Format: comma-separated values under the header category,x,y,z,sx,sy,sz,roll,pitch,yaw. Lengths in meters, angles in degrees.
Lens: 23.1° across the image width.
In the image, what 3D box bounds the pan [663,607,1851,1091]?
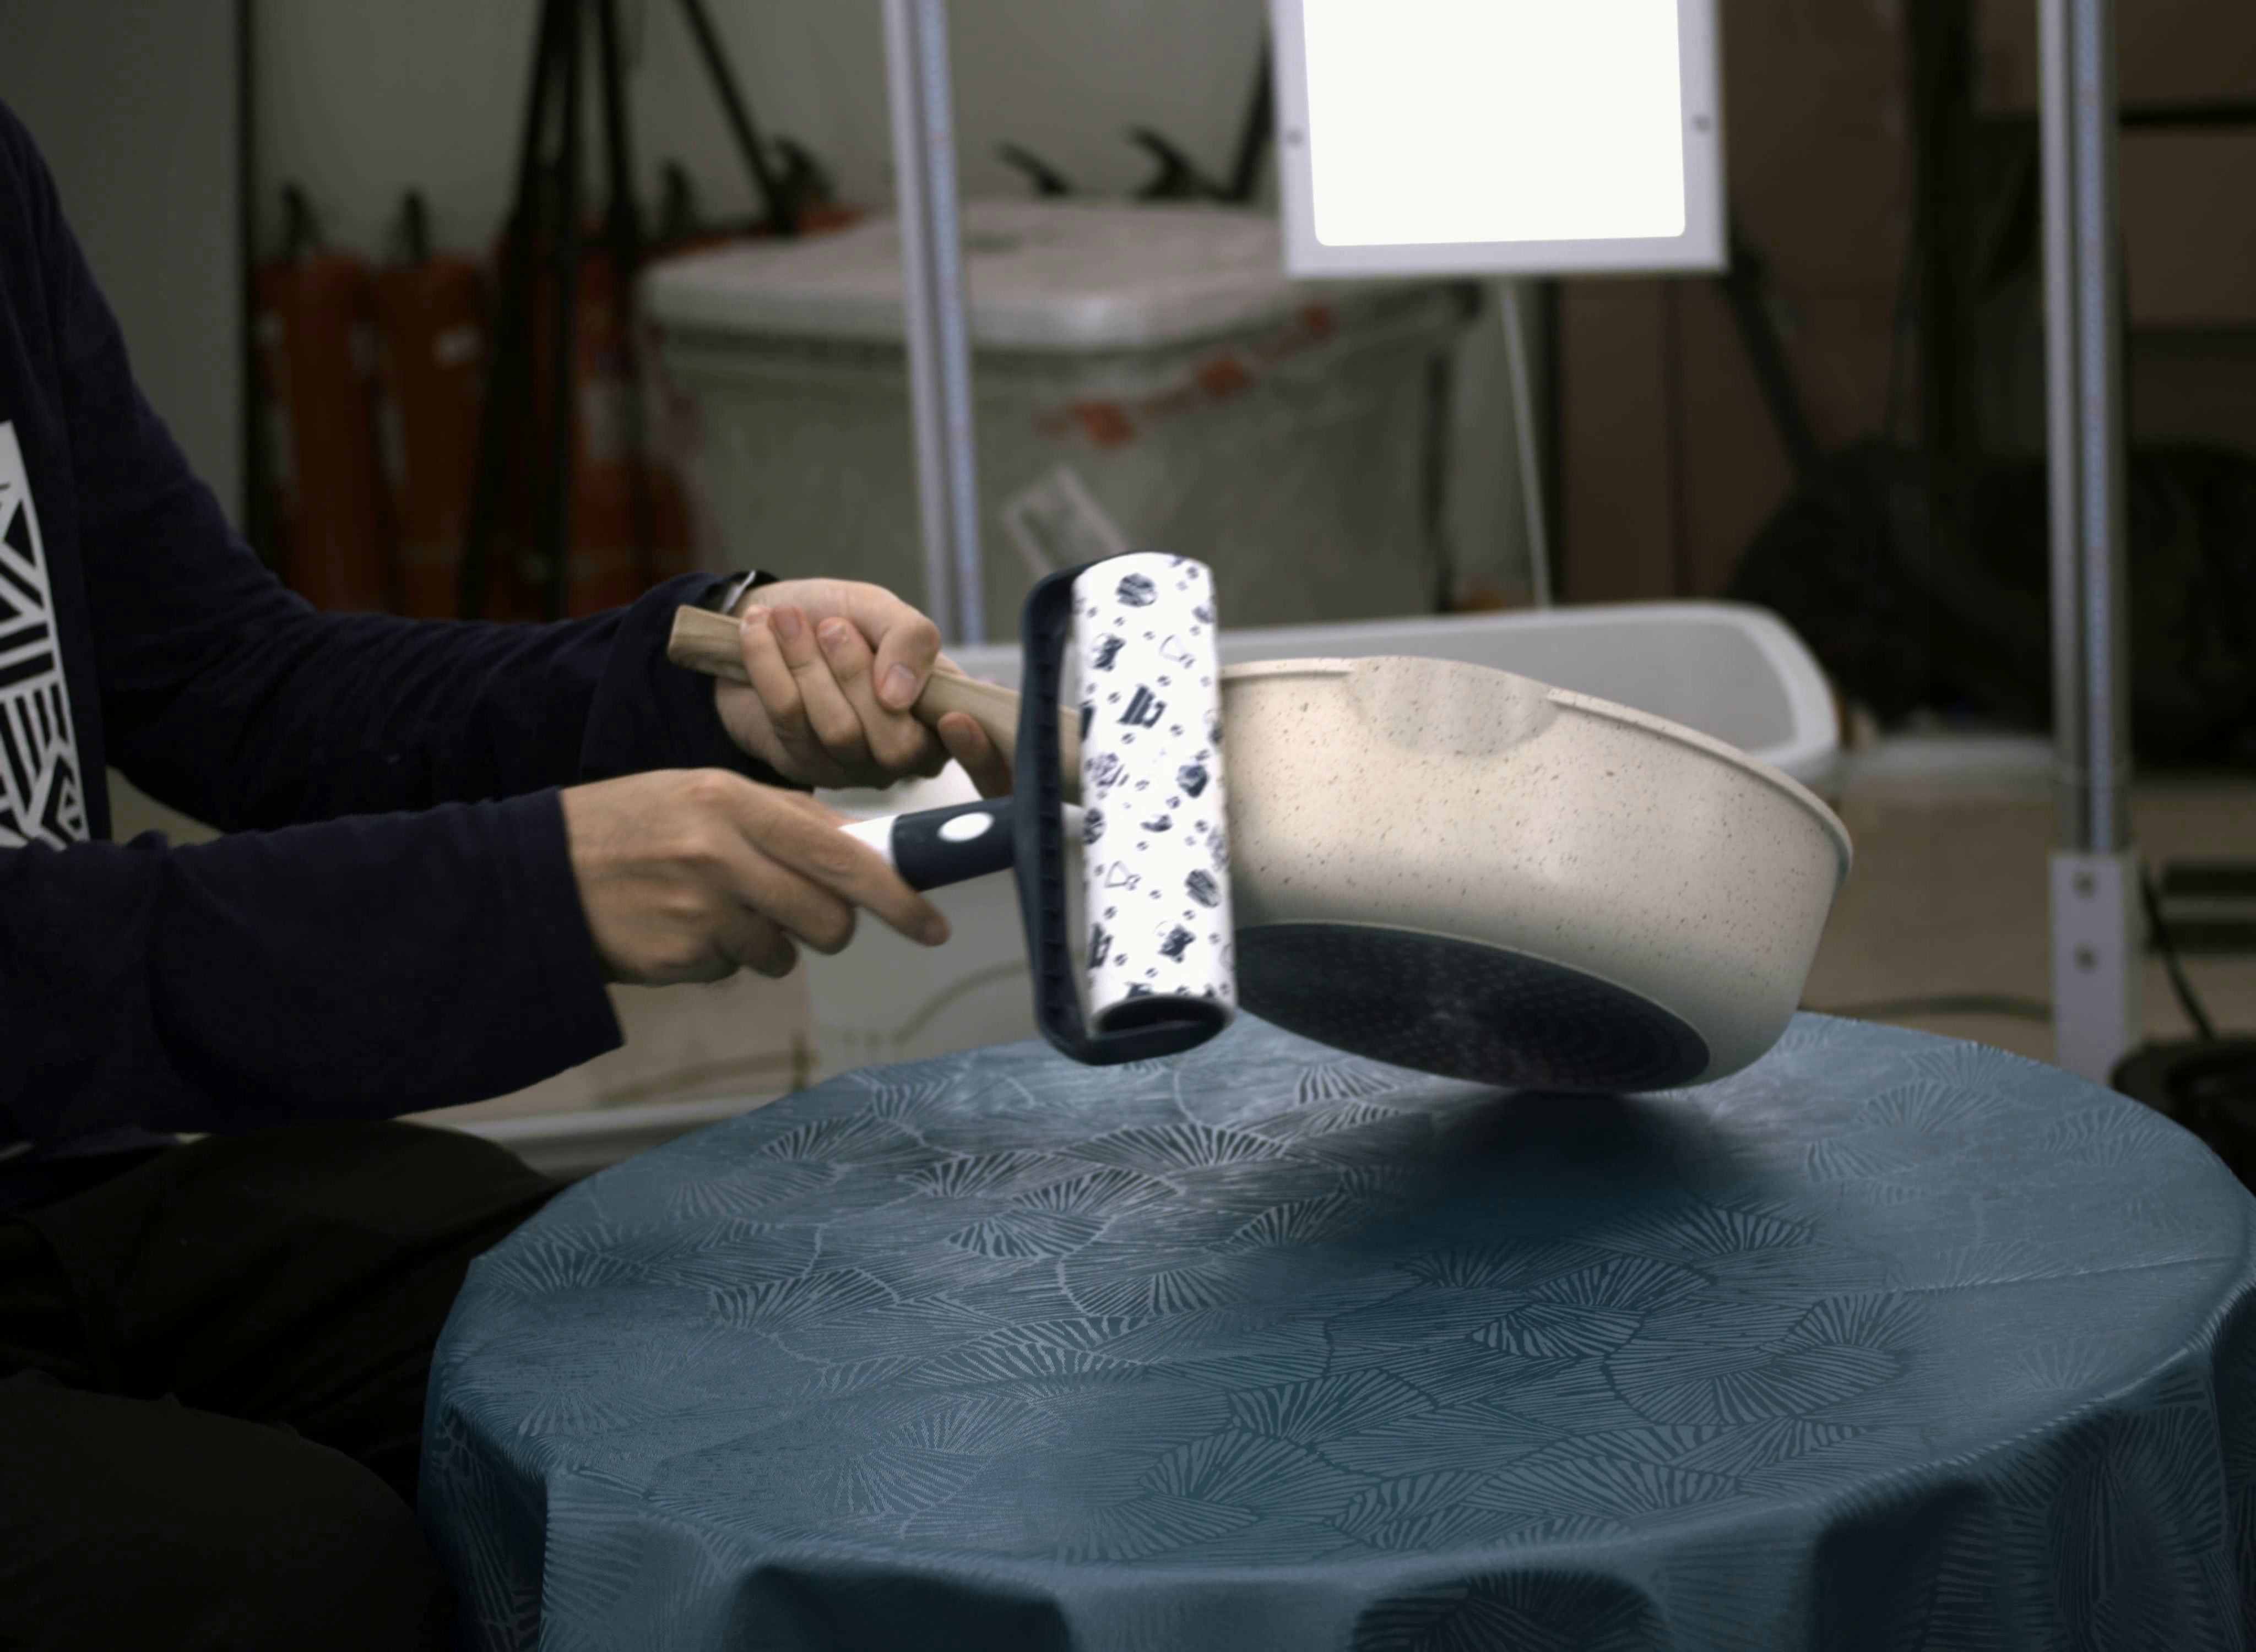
category,x,y,z,sx,sy,sz,roll,pitch,yaw
pan,0.034,0.005,1.934,0.439,0.102,0.261,9,-14,15

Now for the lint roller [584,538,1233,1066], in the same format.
category,x,y,z,sx,sy,sz,roll,pitch,yaw
lint roller,-0.081,0.012,1.864,0.251,0.176,0.049,-14,-25,24
